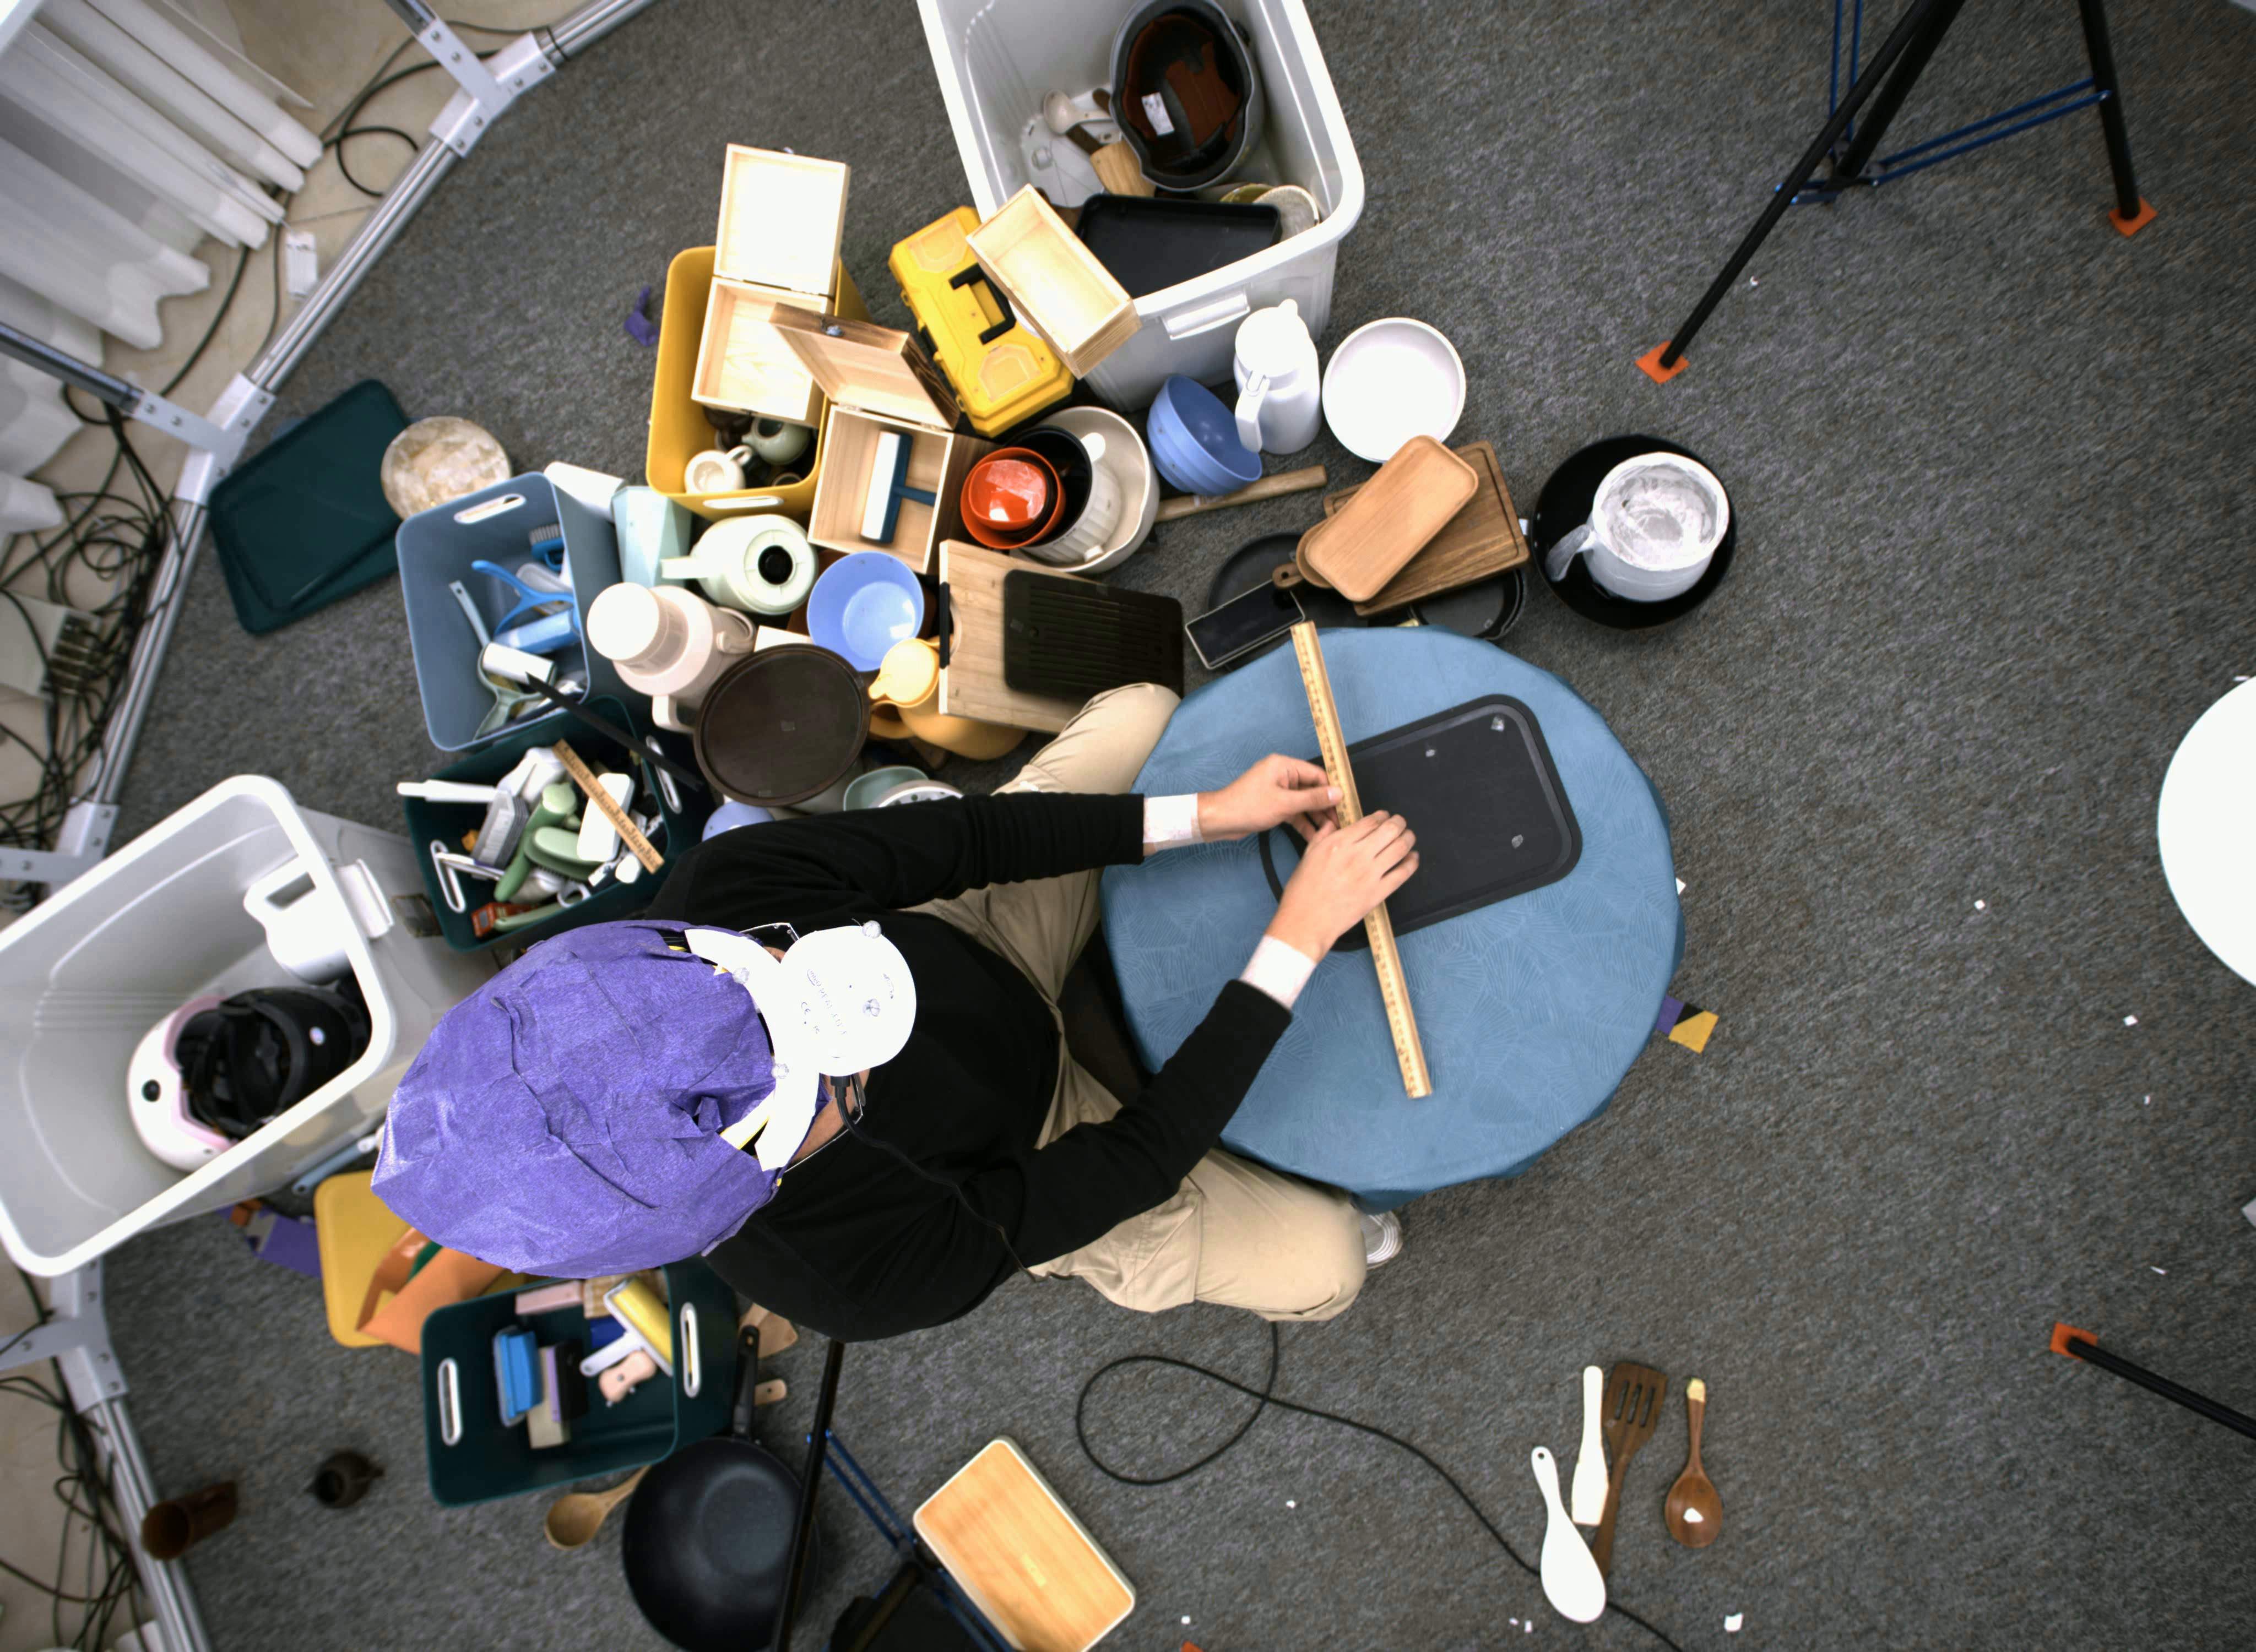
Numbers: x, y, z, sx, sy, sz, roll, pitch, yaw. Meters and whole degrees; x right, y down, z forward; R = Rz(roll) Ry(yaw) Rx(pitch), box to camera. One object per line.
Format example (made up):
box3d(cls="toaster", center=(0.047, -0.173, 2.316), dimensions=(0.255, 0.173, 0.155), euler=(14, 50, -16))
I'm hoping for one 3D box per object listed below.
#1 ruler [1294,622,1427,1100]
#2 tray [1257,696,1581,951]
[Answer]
box3d(cls="ruler", center=(0.238, 0.038, 1.411), dimensions=(0.027, 0.006, 0.501), euler=(-12, 95, 23))
box3d(cls="tray", center=(0.299, -0.001, 1.454), dimensions=(0.327, 0.010, 0.210), euler=(-19, 83, 8))
